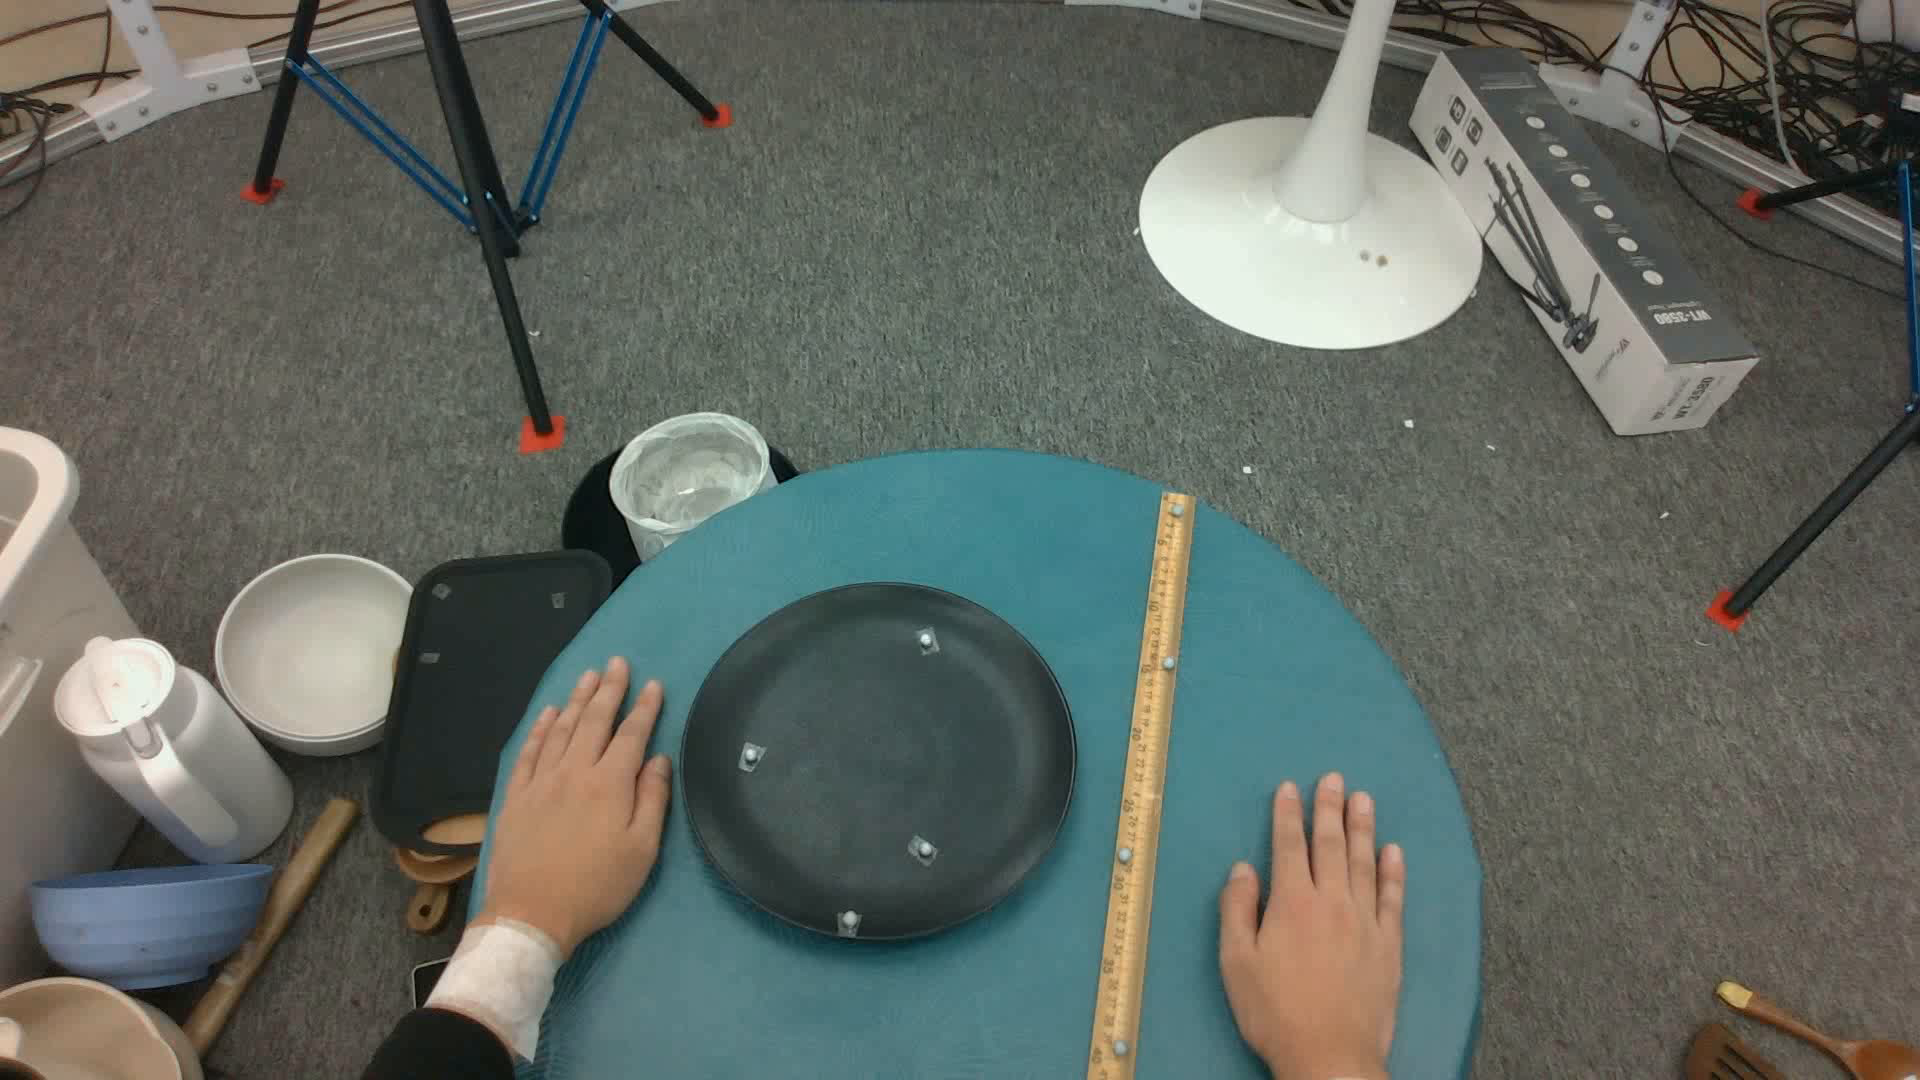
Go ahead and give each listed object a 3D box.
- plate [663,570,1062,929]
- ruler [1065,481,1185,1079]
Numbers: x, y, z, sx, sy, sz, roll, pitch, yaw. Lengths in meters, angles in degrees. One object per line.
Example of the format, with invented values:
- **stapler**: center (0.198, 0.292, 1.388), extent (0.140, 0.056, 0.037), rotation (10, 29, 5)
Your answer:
- **plate**: center (-0.059, 0.124, 0.850), extent (0.244, 0.023, 0.245), rotation (2, 54, -2)
- **ruler**: center (0.102, 0.158, 0.847), extent (0.027, 0.006, 0.503), rotation (9, 54, 6)
